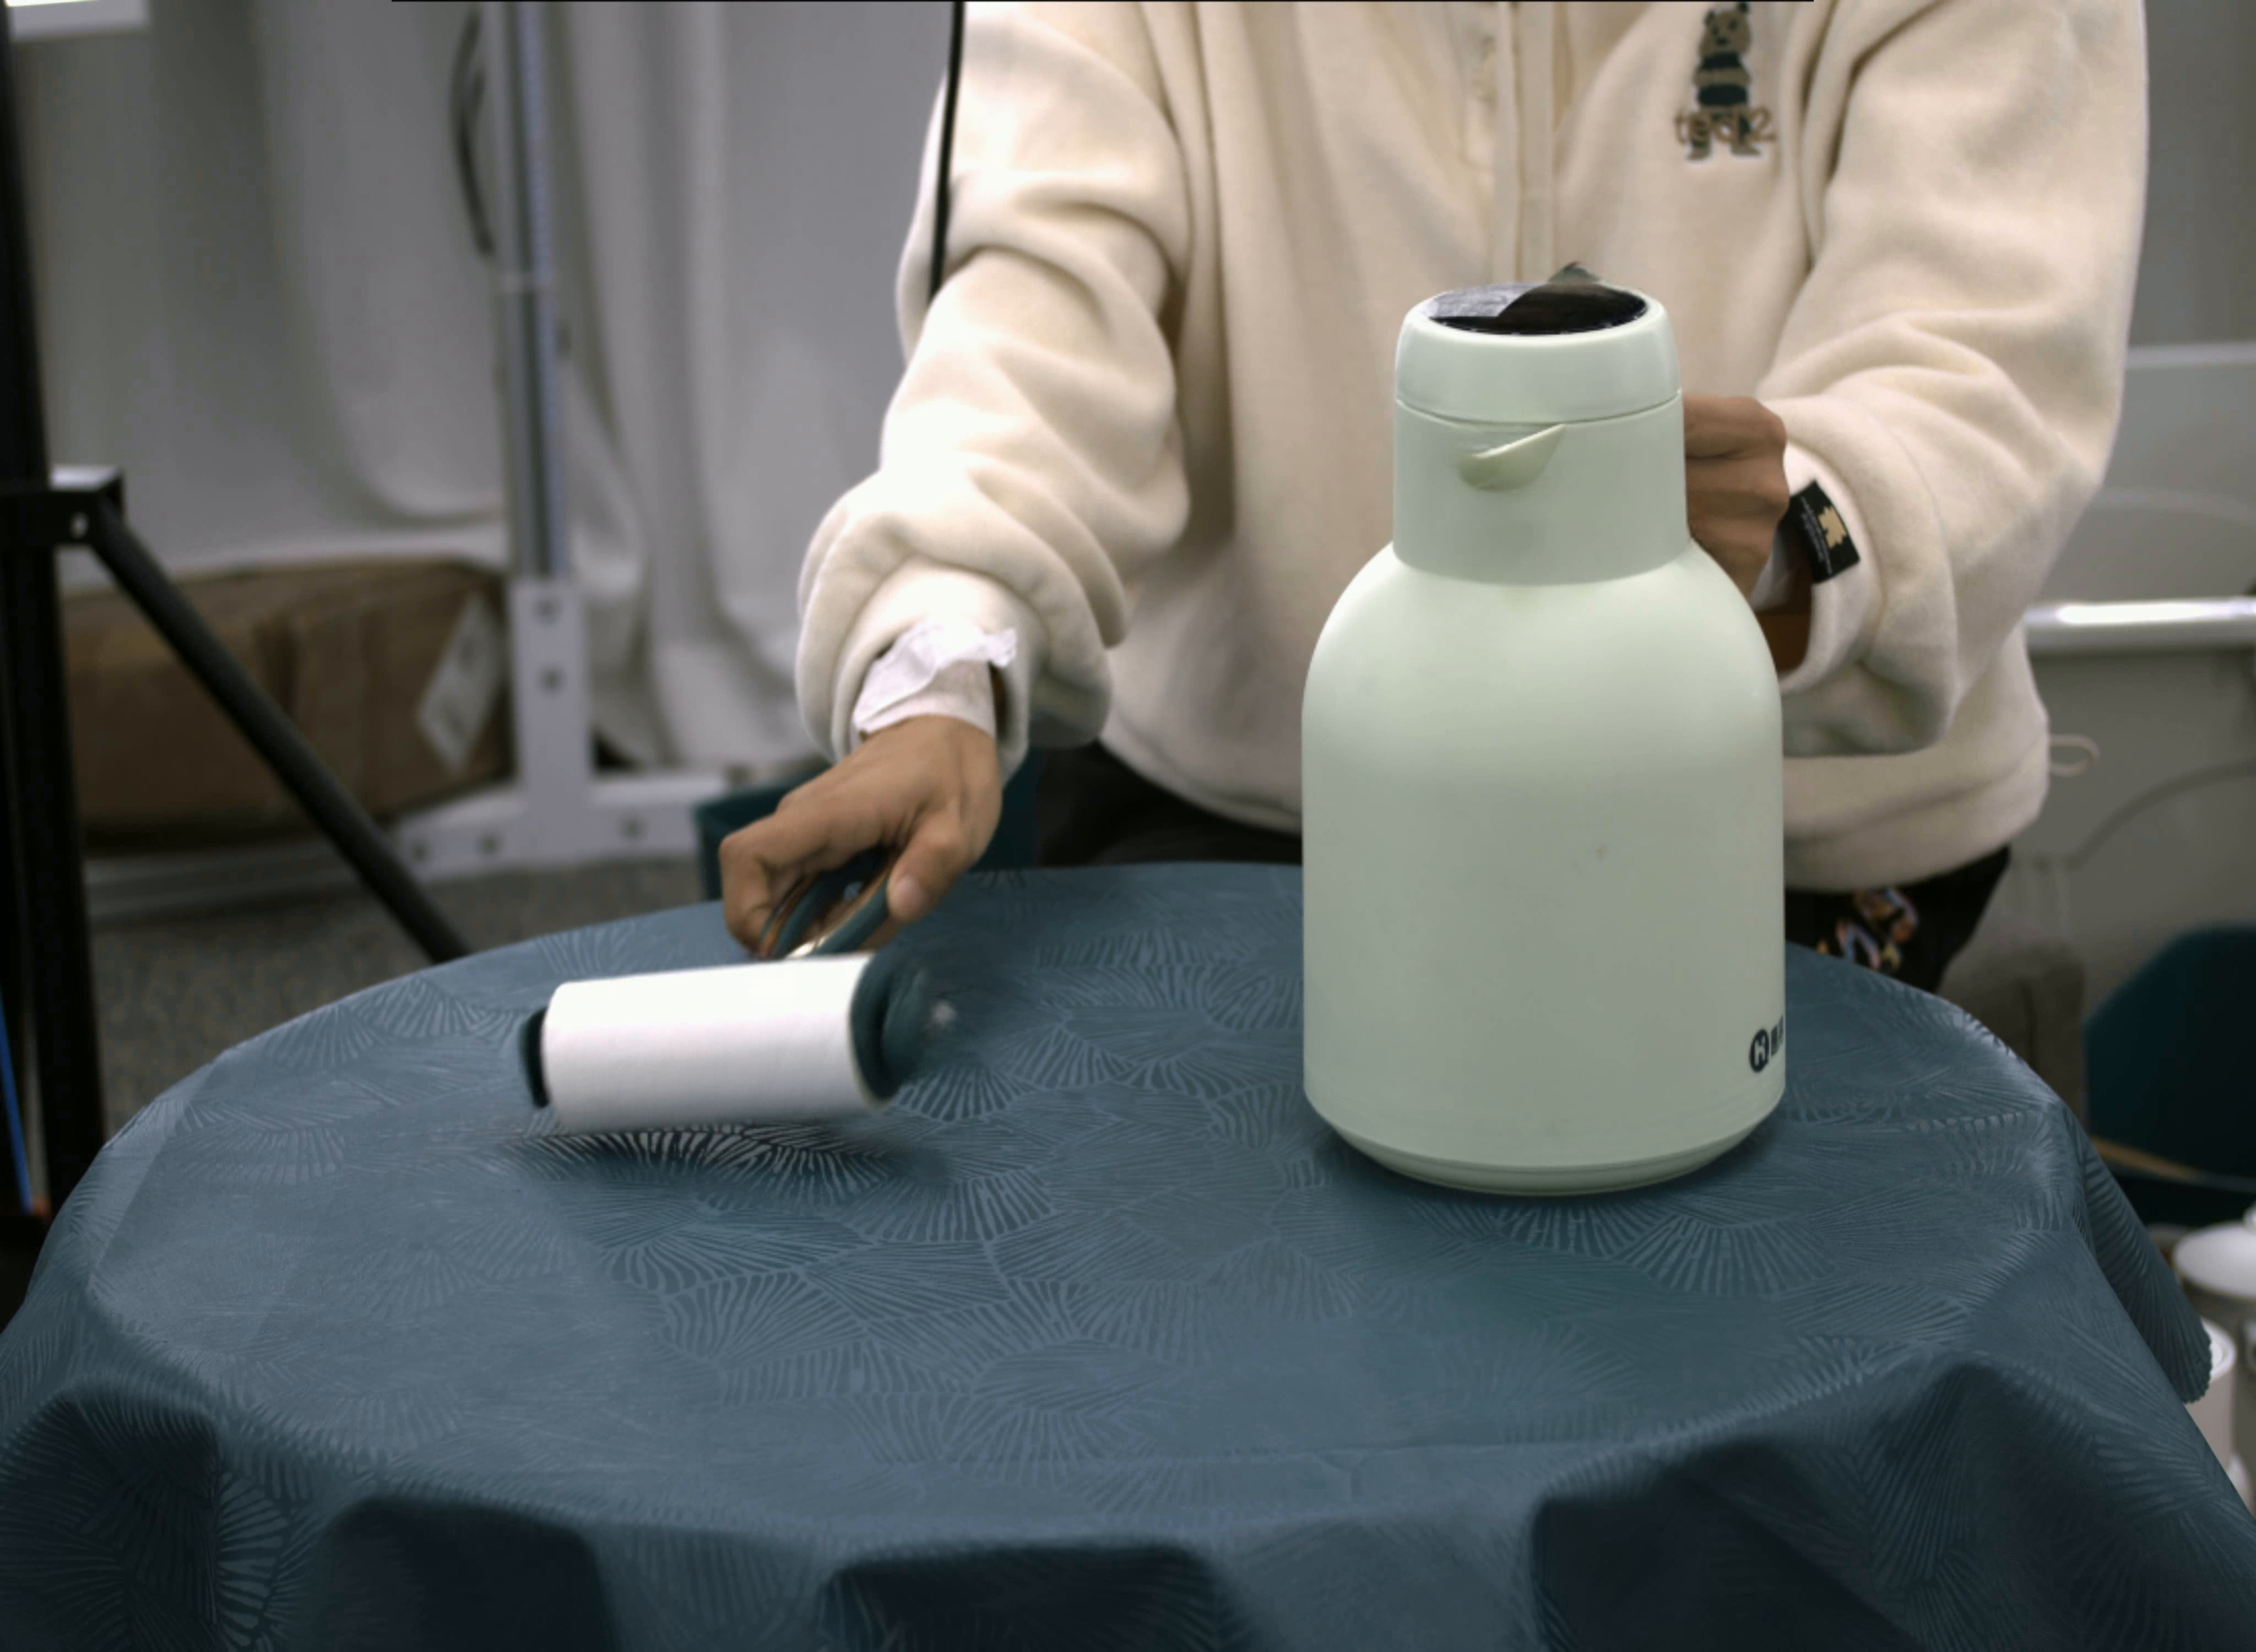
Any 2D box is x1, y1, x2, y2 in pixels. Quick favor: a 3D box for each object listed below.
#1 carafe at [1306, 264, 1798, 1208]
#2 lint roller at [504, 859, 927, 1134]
[{"bbox_3d":[0.128,-0.031,1.563,0.146,0.257,0.184,4,14,24],"label":"carafe"},{"bbox_3d":[-0.107,0.037,1.661,0.136,0.048,0.179,-3,28,20],"label":"lint roller"}]
